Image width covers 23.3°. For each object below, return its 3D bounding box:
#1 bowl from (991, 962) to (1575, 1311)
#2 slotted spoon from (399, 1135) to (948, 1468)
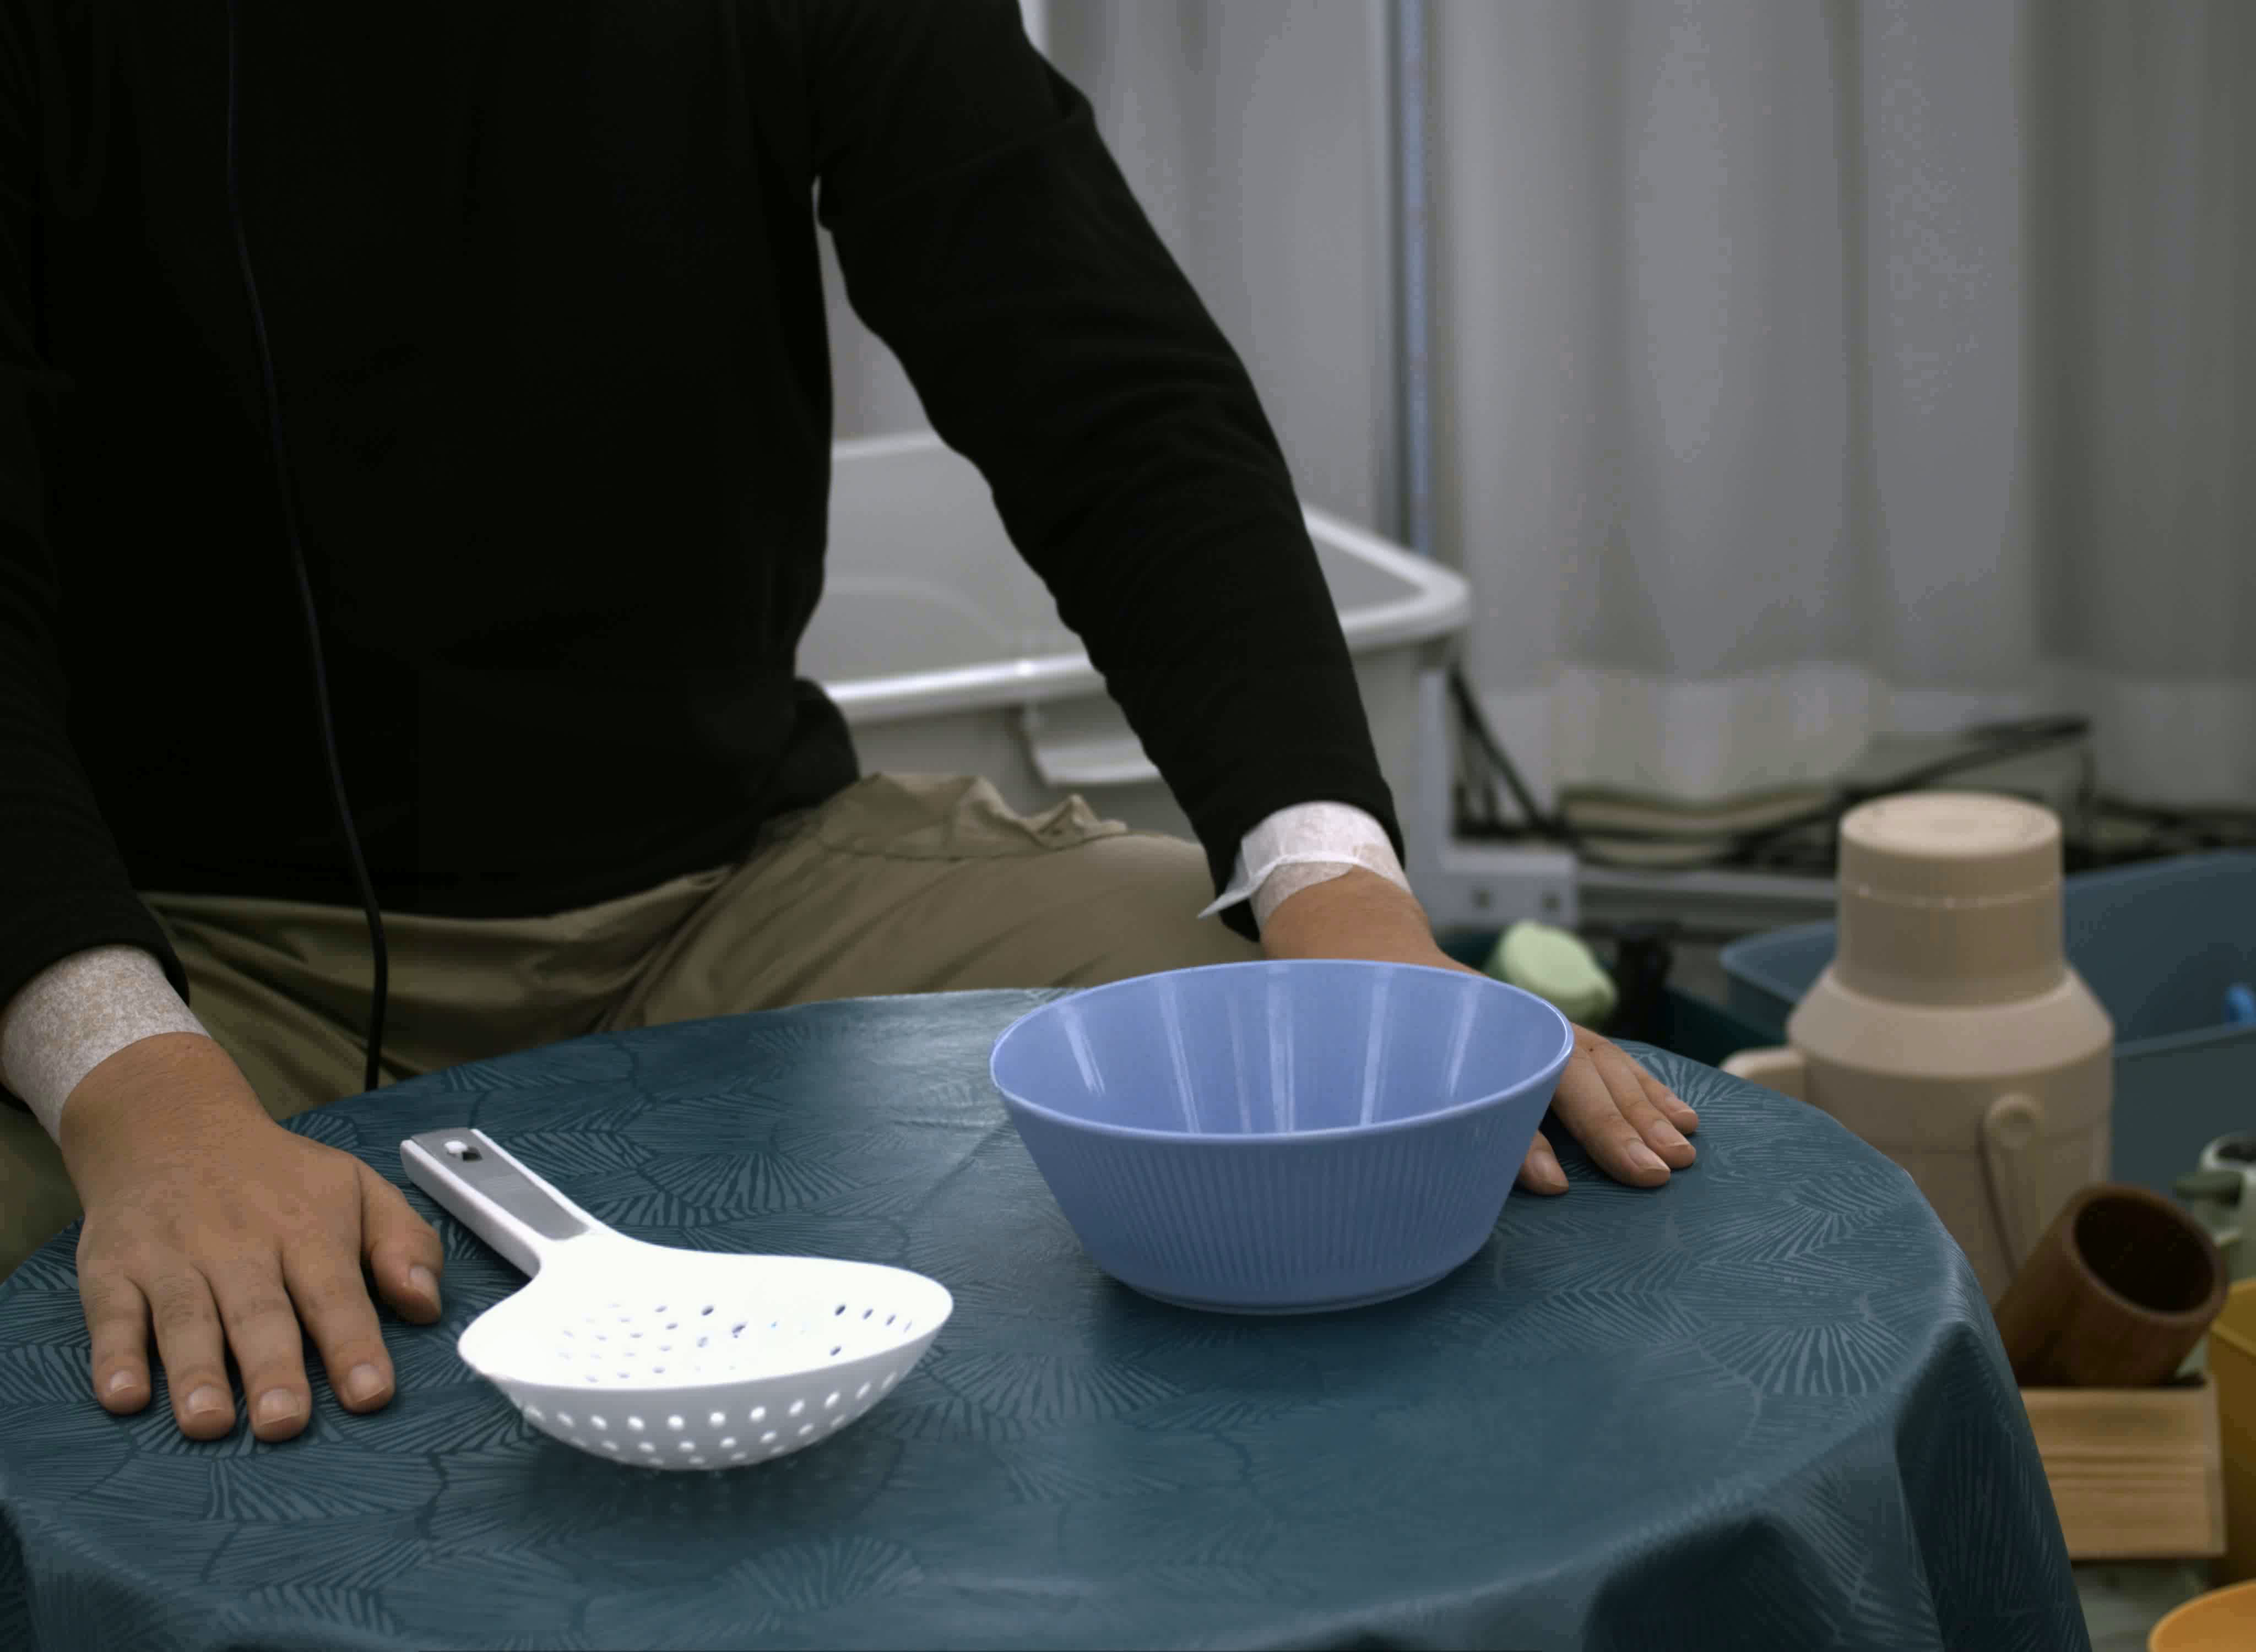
[{"bbox_3d":[0.047,0.096,1.641,0.175,0.070,0.177,-3,14,0],"label":"bowl"},{"bbox_3d":[-0.157,0.129,1.602,0.135,0.045,0.352,-9,15,-21],"label":"slotted spoon"}]
